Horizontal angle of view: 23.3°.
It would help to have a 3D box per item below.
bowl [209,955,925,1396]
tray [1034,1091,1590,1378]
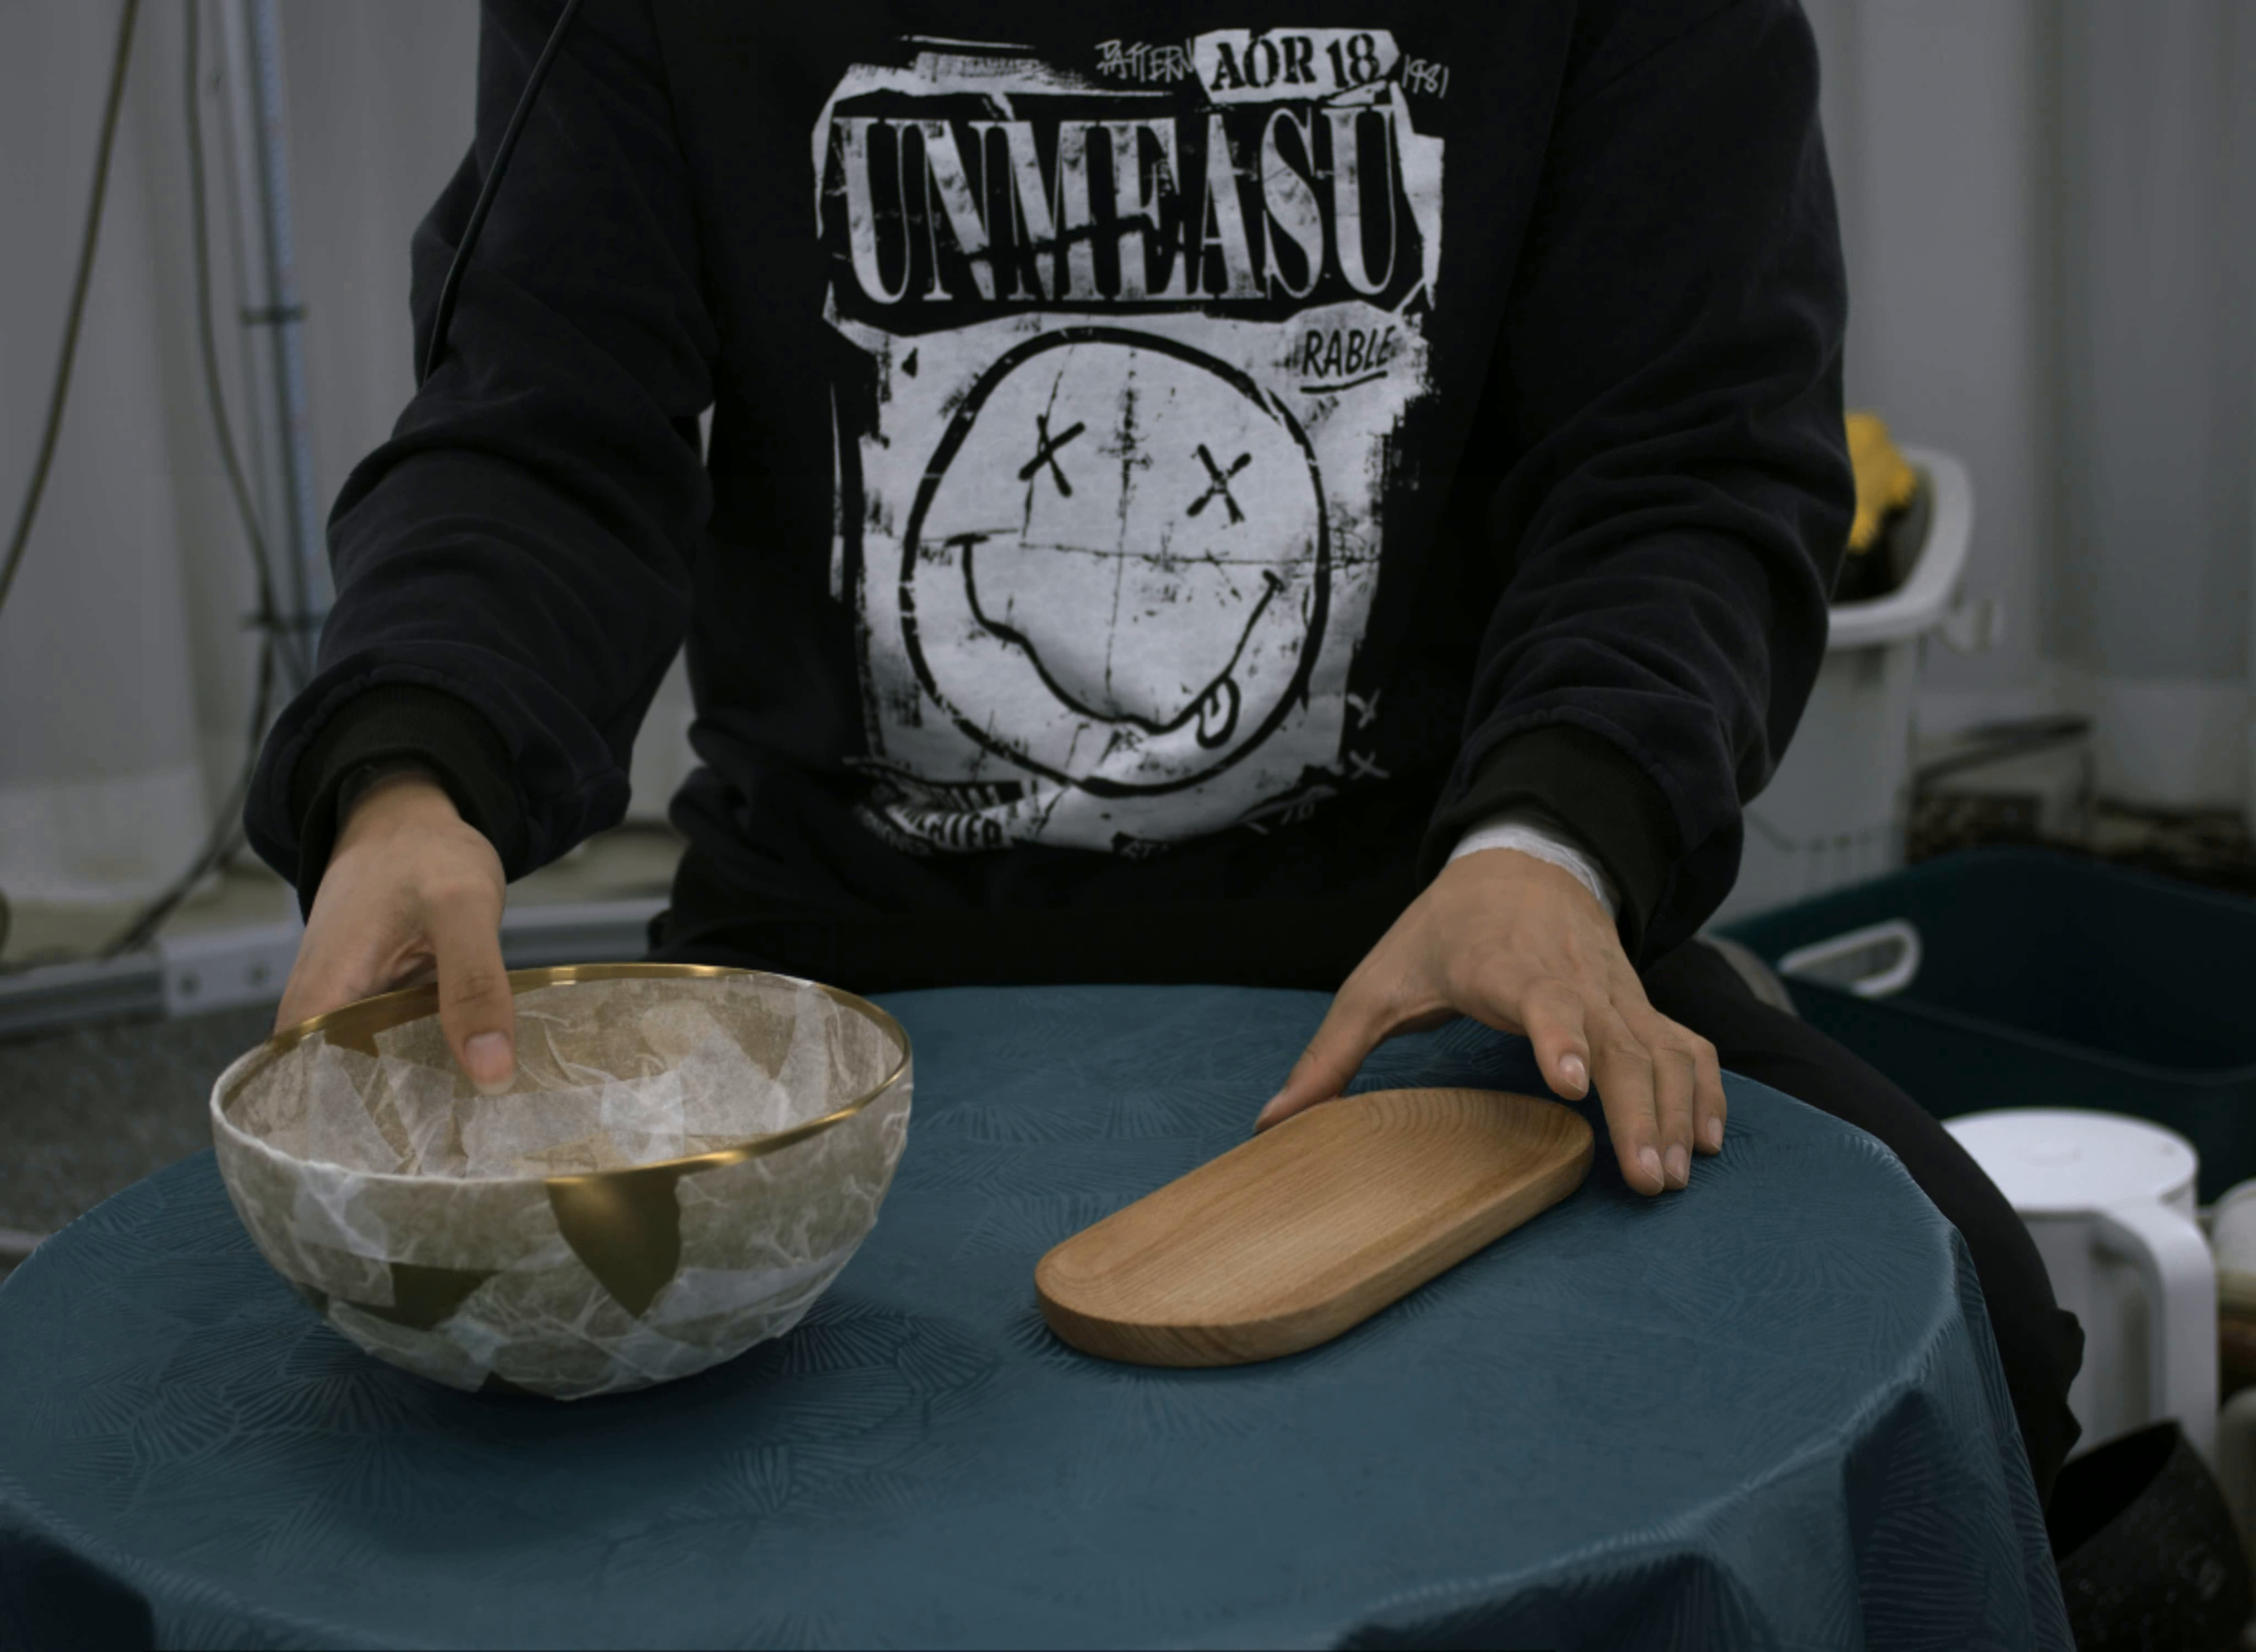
[{"bbox_3d":[-0.156,0.109,1.582,0.214,0.094,0.216,-3,15,1],"label":"bowl"},{"bbox_3d":[0.058,0.122,1.650,0.102,0.020,0.231,4,18,33],"label":"tray"}]
